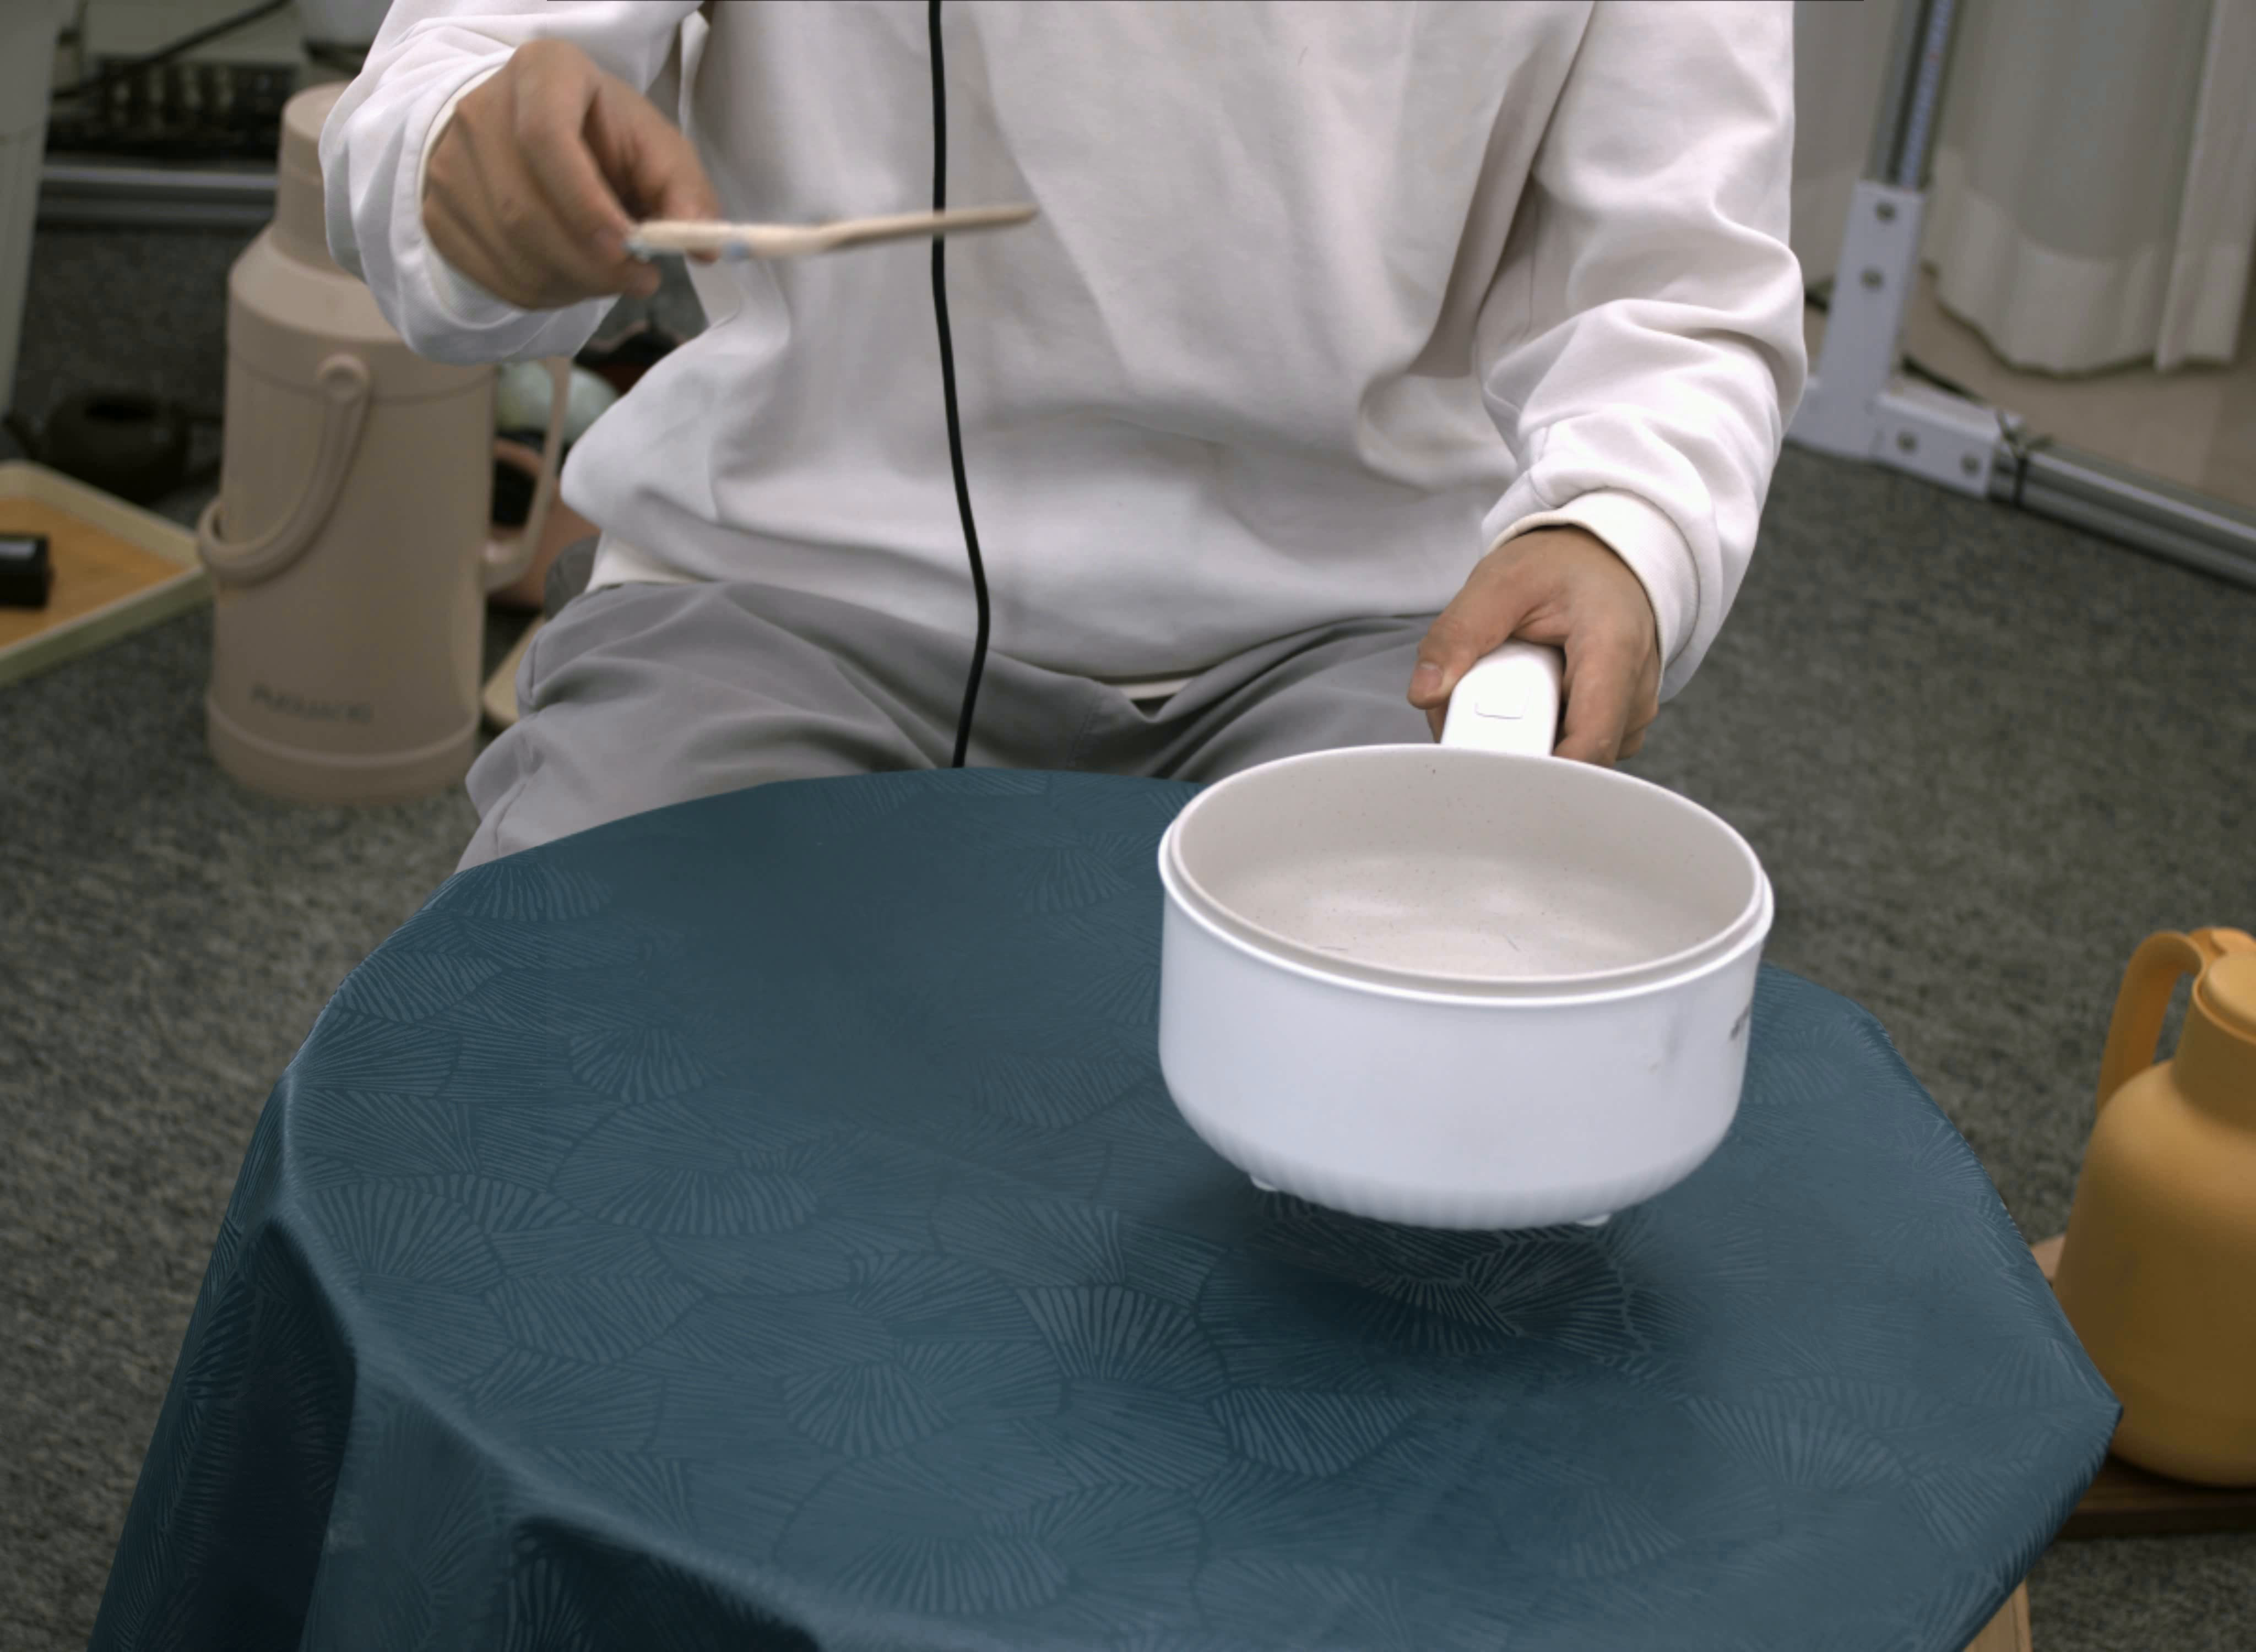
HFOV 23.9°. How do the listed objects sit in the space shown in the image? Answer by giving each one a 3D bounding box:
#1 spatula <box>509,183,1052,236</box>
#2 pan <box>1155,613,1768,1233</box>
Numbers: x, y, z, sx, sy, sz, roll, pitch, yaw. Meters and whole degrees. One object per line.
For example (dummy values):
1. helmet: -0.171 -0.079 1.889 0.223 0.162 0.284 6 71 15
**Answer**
1. spatula: -0.128 -0.197 1.722 0.072 0.010 0.295 -11 10 -31
2. pan: 0.118 0.029 1.827 0.201 0.102 0.356 4 22 7
